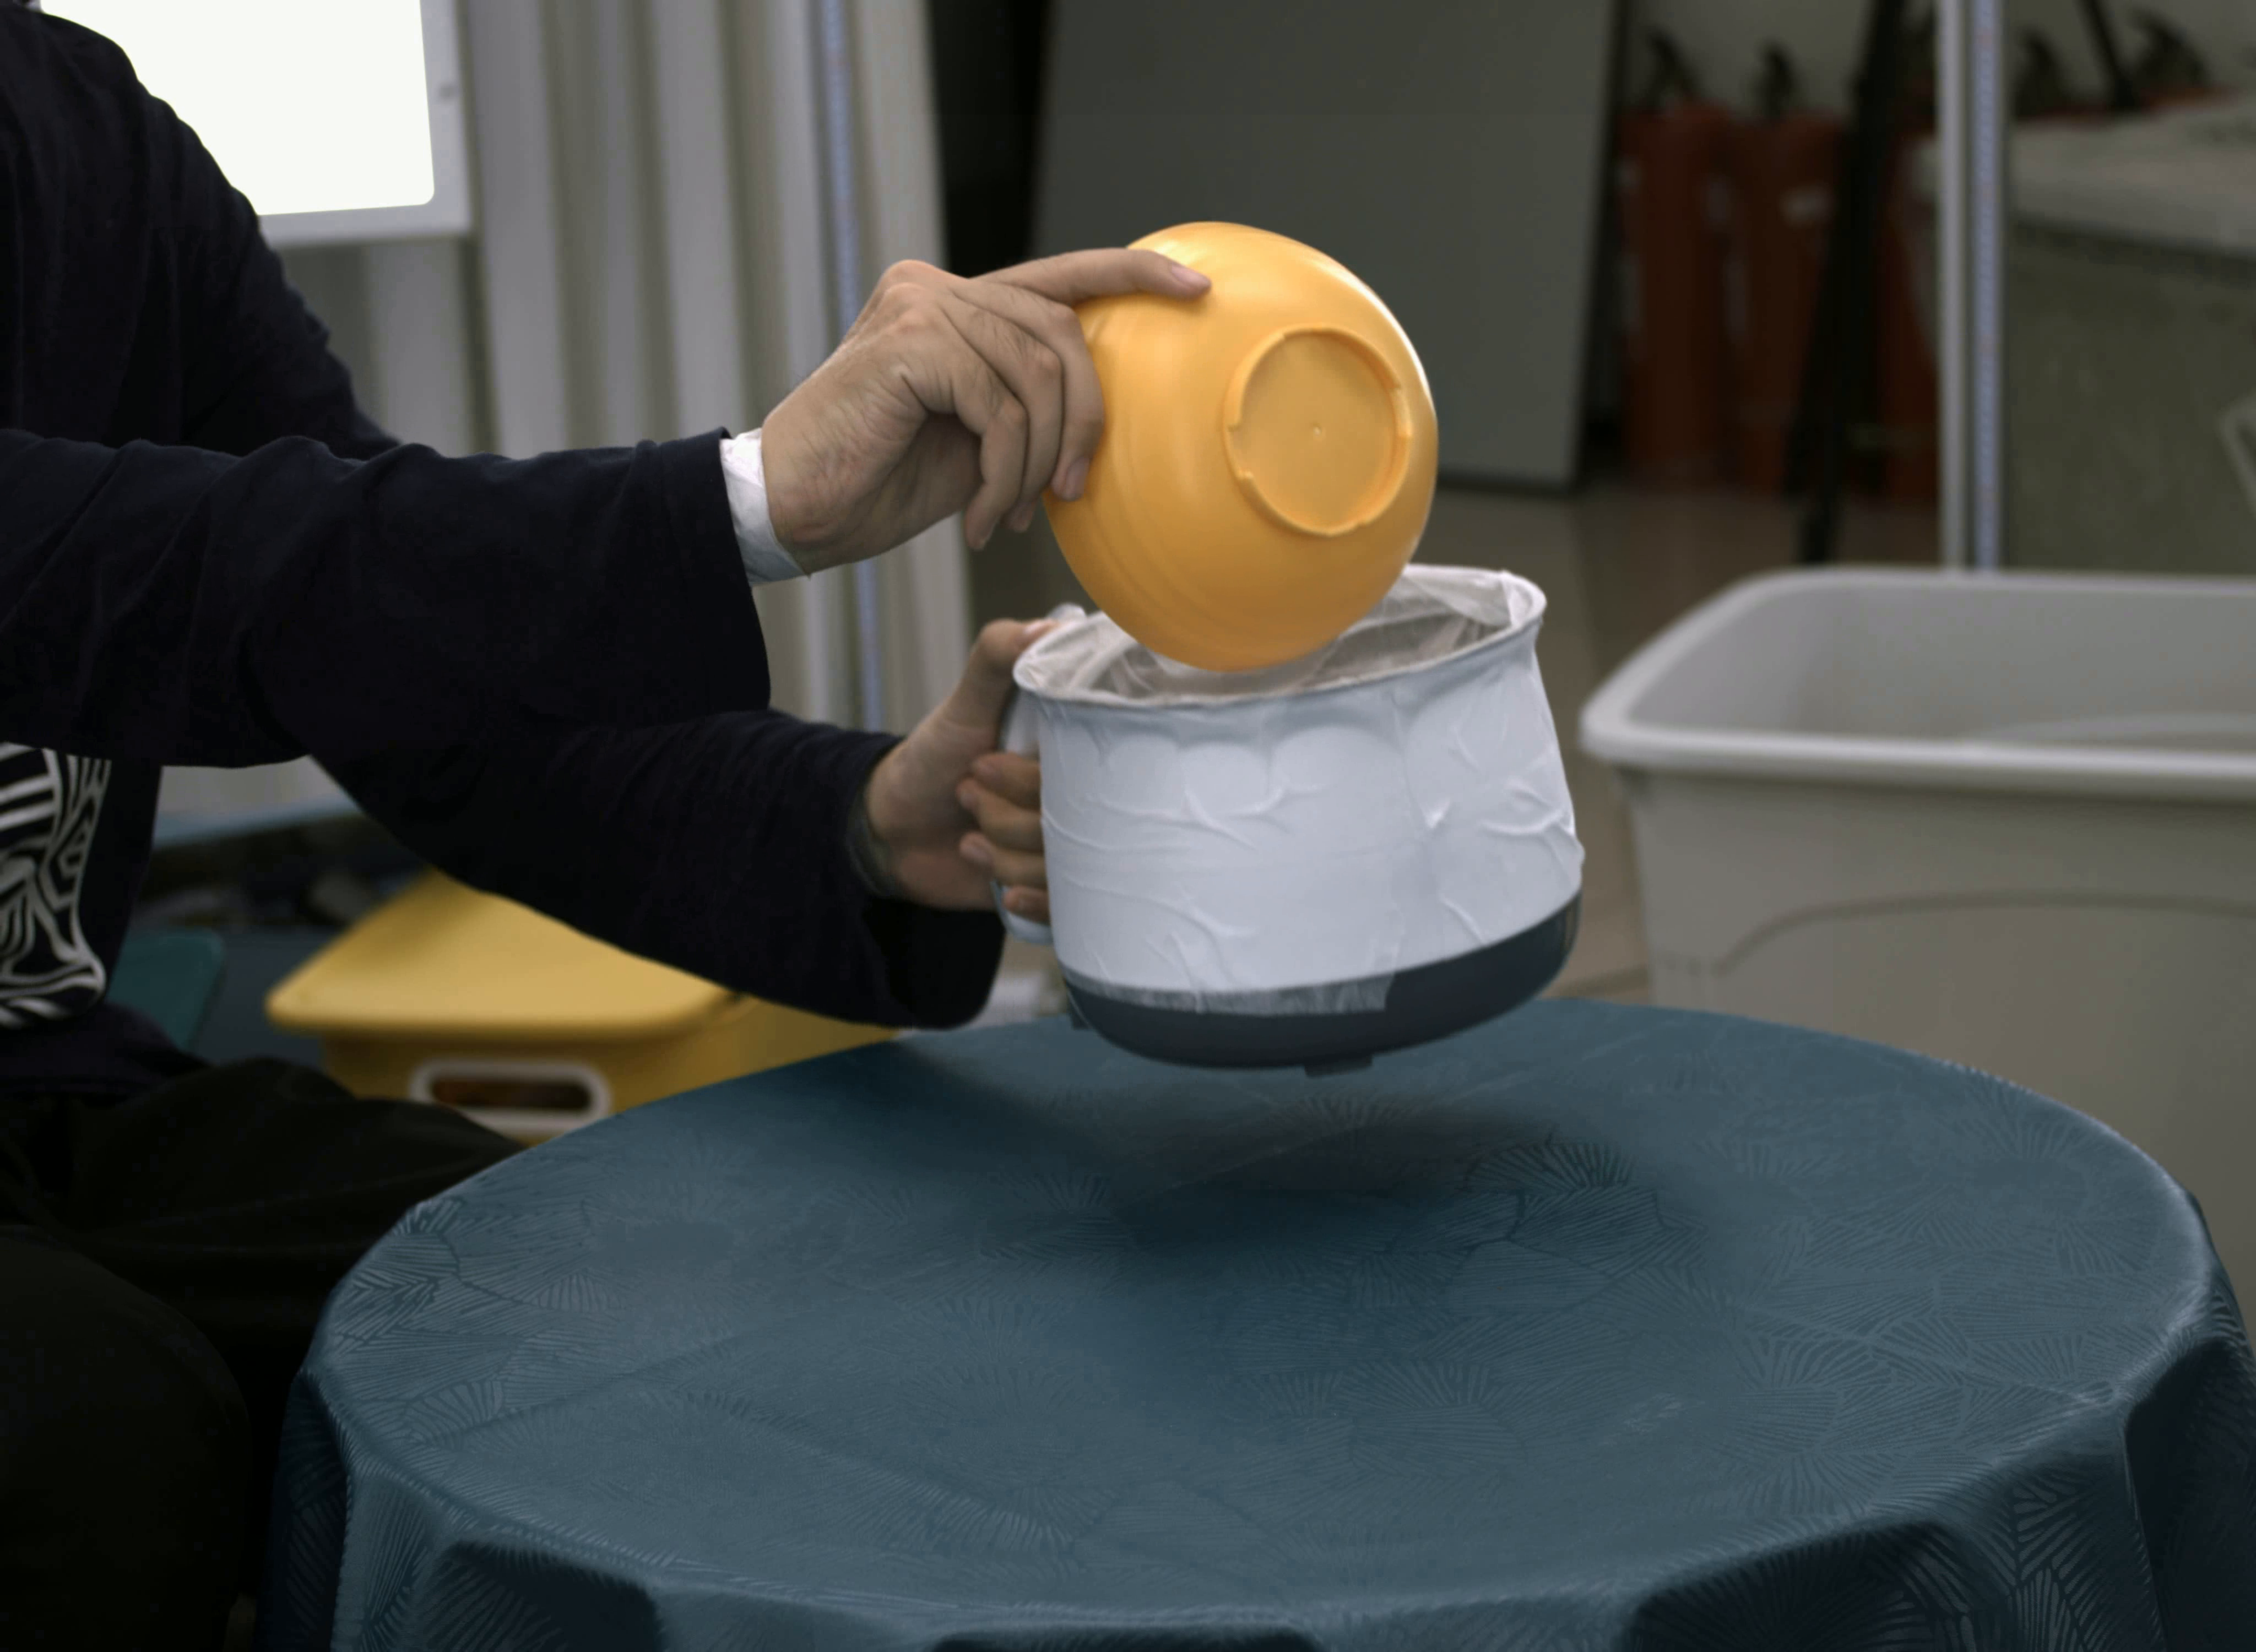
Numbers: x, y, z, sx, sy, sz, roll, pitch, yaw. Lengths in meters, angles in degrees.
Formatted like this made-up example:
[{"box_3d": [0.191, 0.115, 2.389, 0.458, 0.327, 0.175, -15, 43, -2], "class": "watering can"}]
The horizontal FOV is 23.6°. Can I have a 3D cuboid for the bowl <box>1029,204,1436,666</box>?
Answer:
[{"box_3d": [0.045, -0.125, 1.686, 0.142, 0.147, 0.060, -11, 2, -29], "class": "bowl"}]

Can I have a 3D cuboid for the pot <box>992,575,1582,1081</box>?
[{"box_3d": [0.039, -0.002, 1.790, 0.236, 0.138, 0.175, 5, 16, 44], "class": "pot"}]
